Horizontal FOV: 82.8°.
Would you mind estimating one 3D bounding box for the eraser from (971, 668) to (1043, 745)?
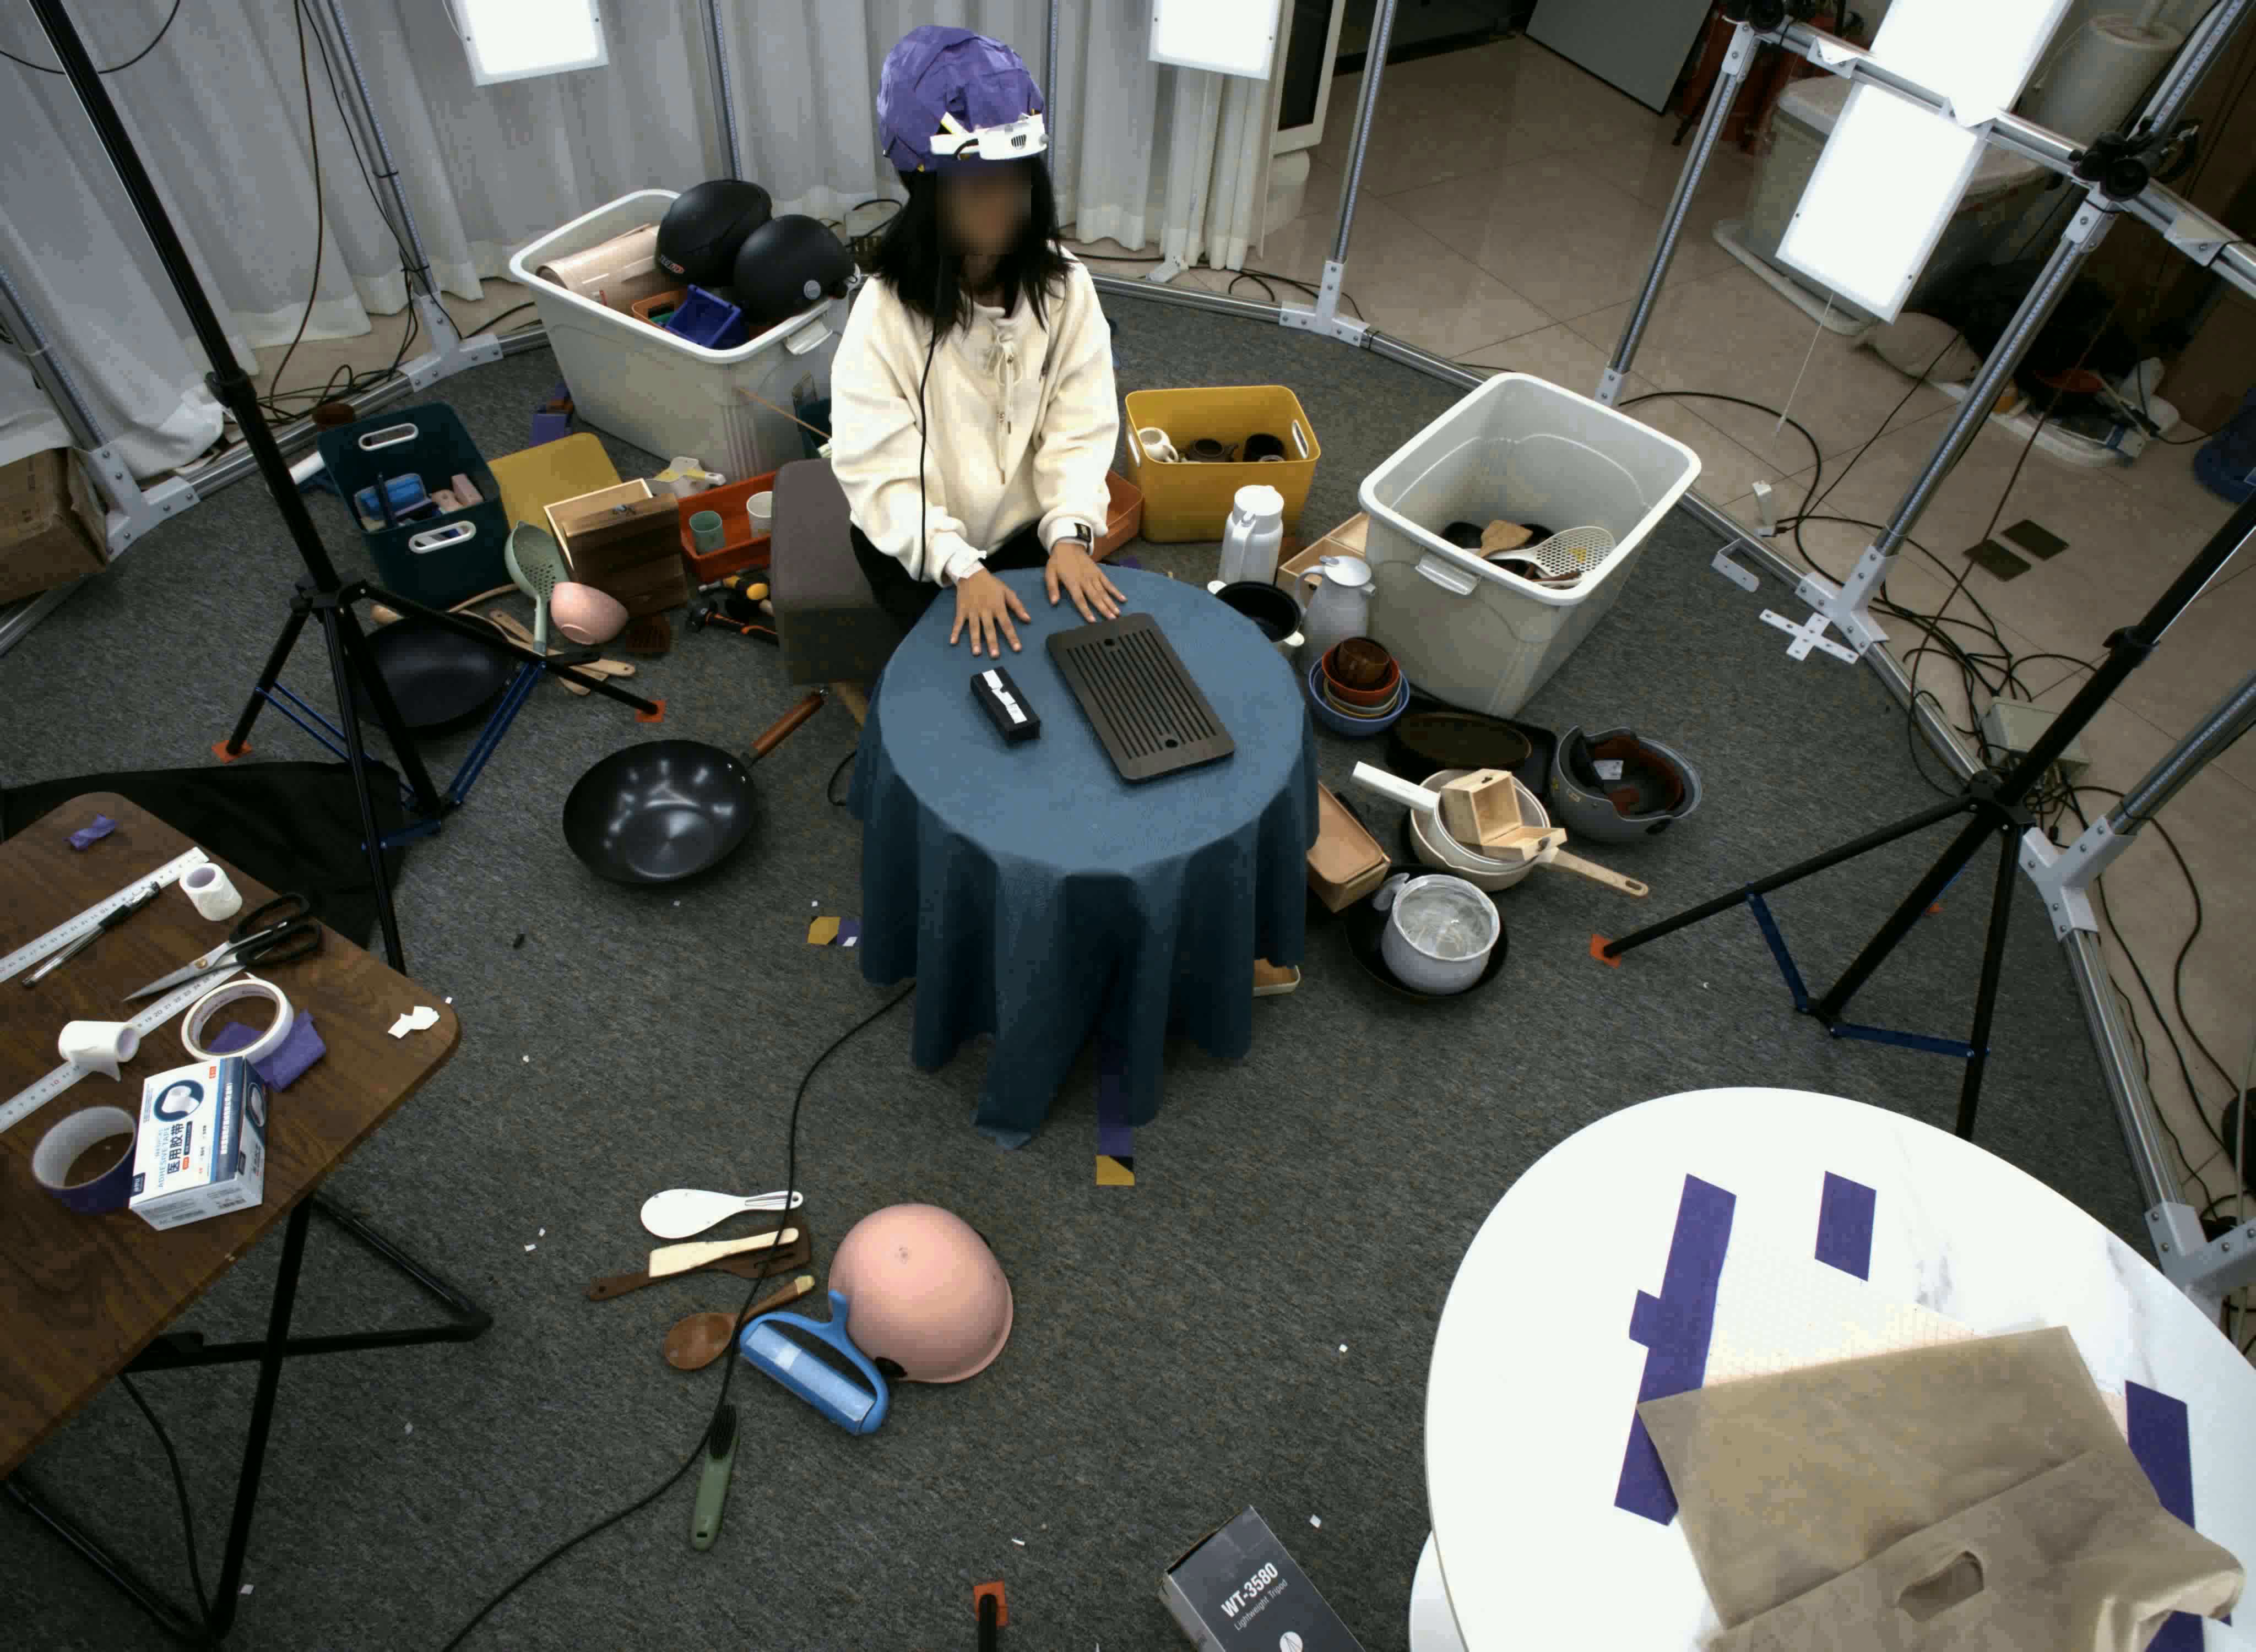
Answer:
[{"bbox_3d":[-0.169,-0.167,1.786,0.053,0.030,0.128,-19,52,-22],"label":"eraser"}]

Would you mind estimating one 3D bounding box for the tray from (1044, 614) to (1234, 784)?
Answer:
[{"bbox_3d":[0.011,-0.184,1.819,0.170,0.018,0.313,-16,52,-17],"label":"tray"}]
